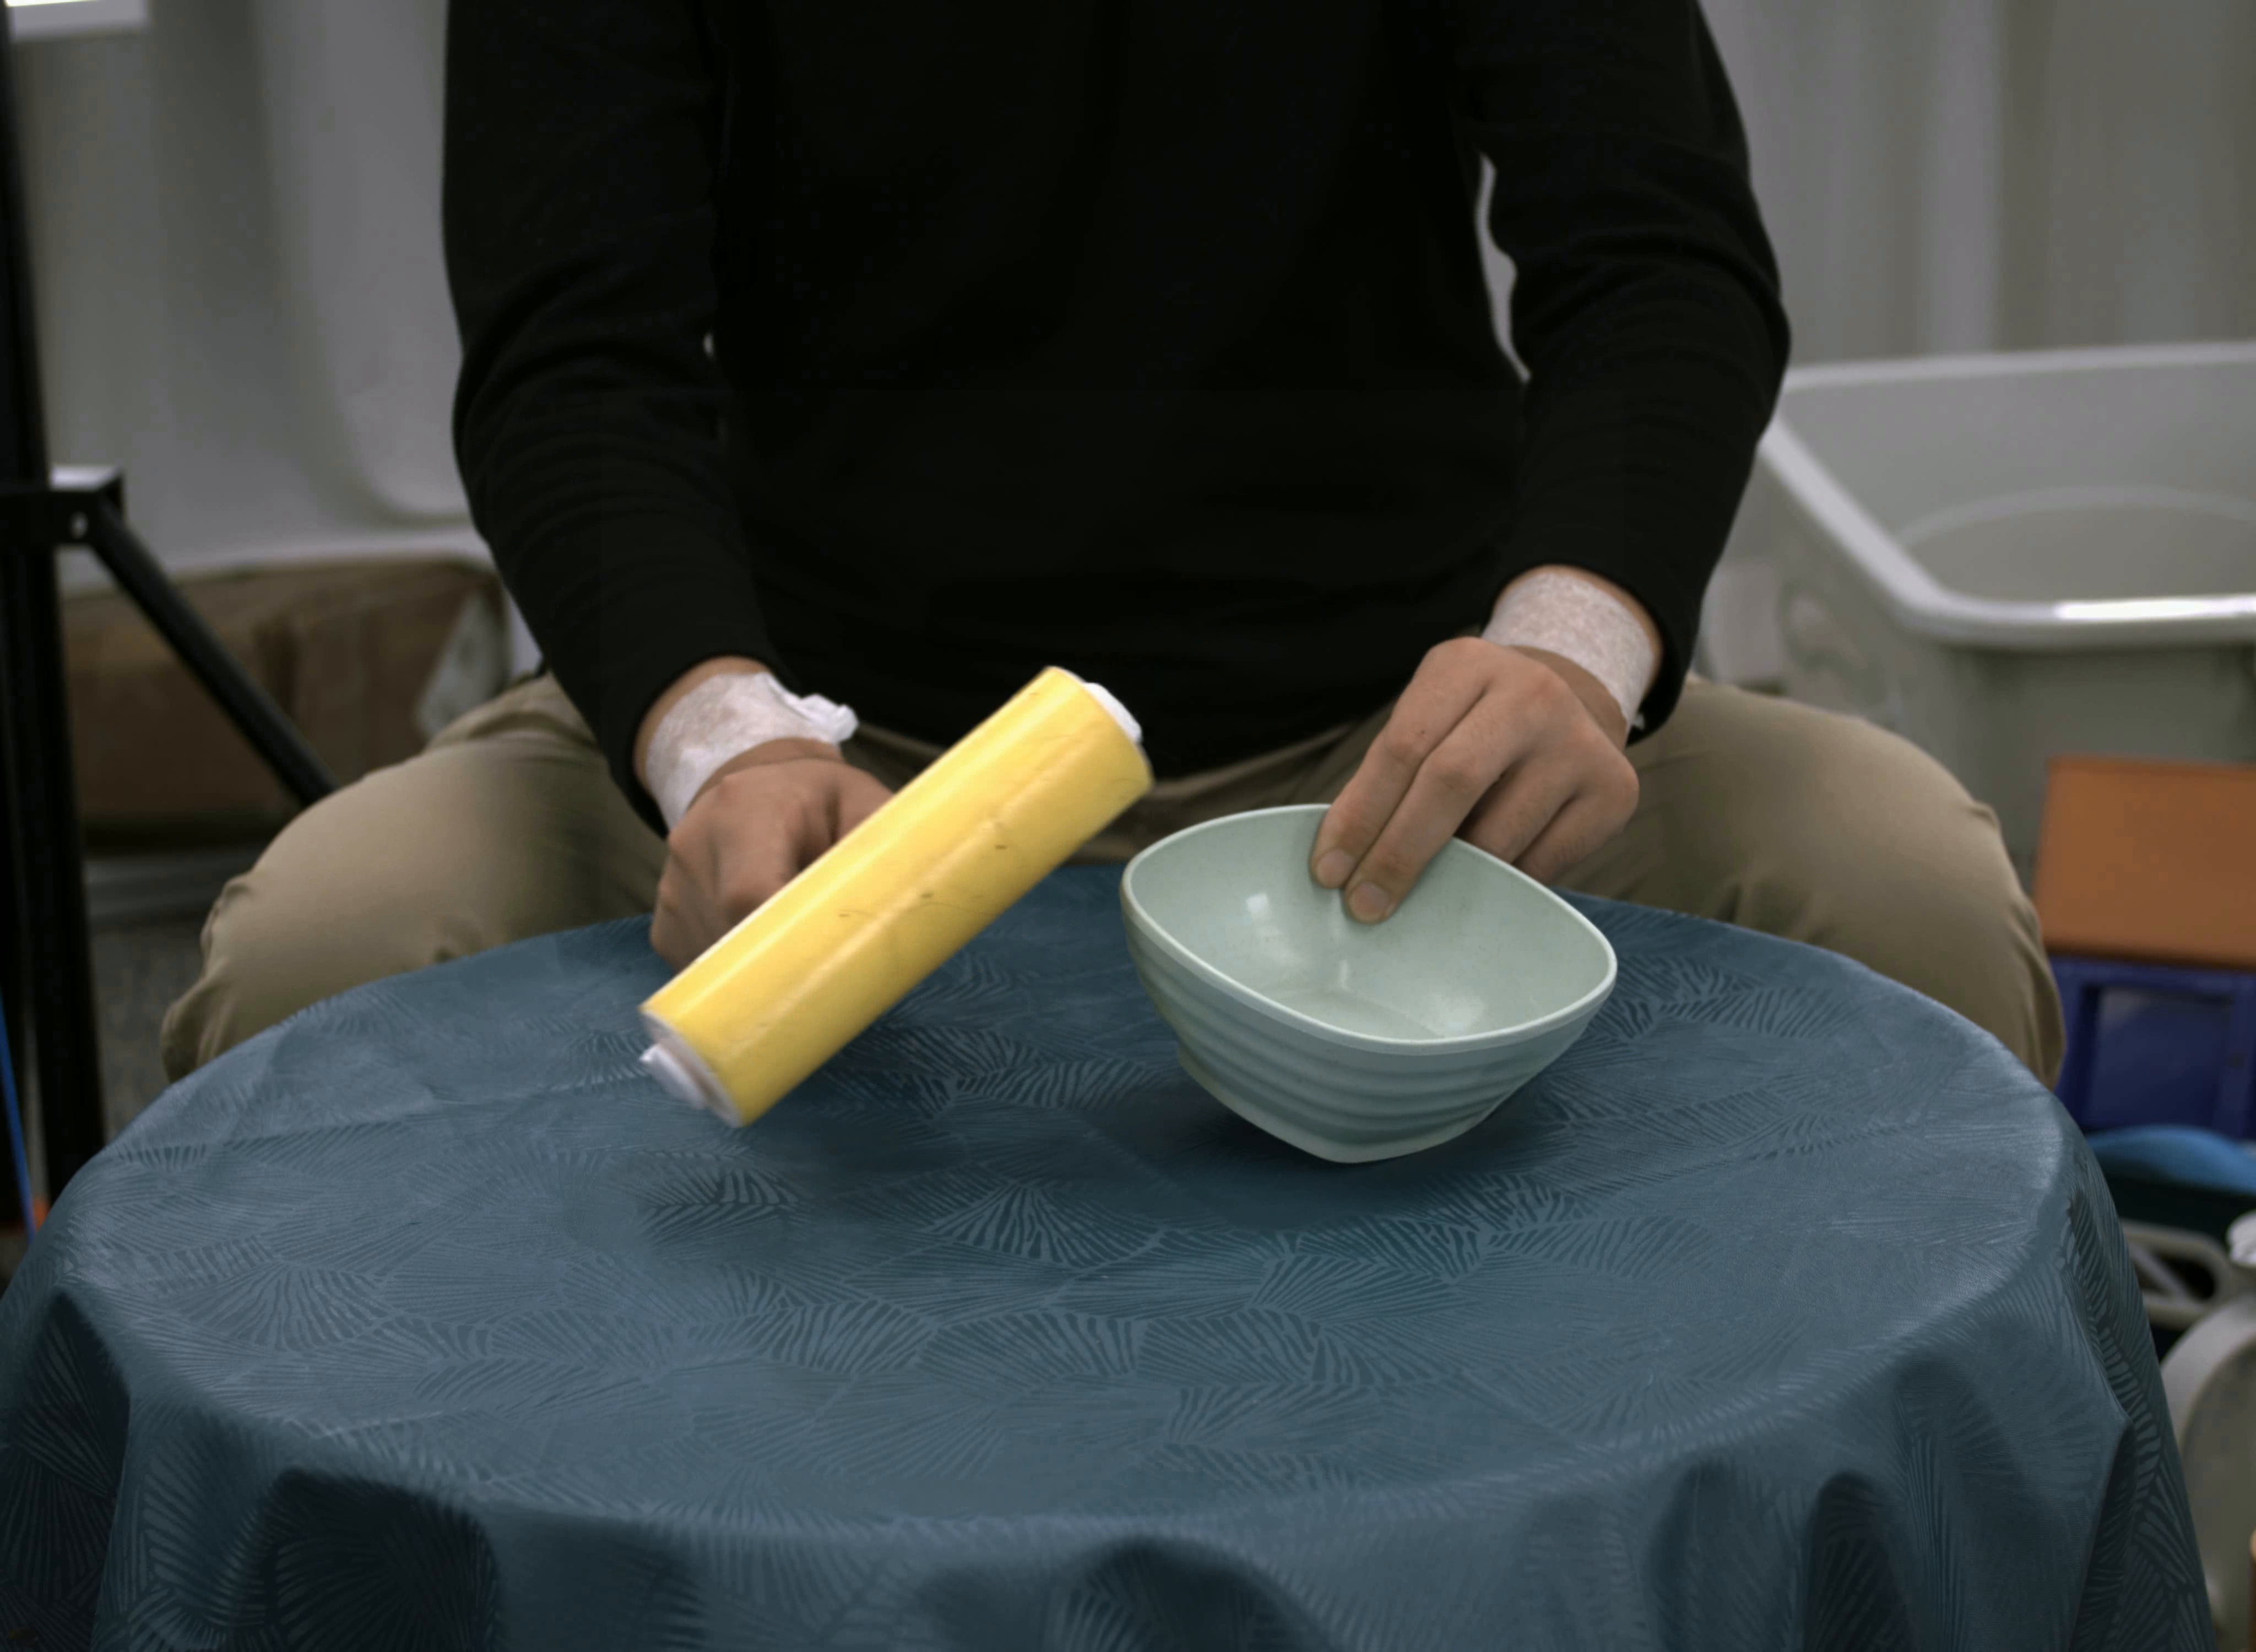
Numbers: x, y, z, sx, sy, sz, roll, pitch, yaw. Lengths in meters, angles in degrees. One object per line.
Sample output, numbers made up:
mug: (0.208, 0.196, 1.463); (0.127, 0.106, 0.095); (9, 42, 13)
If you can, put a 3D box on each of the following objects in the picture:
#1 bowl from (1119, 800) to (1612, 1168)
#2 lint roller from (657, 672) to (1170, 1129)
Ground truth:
bowl: (0.066, 0.053, 1.597); (0.150, 0.059, 0.153); (9, 27, -6)
lint roller: (-0.092, 0.016, 1.636); (0.173, 0.051, 0.195); (-40, 20, -15)
